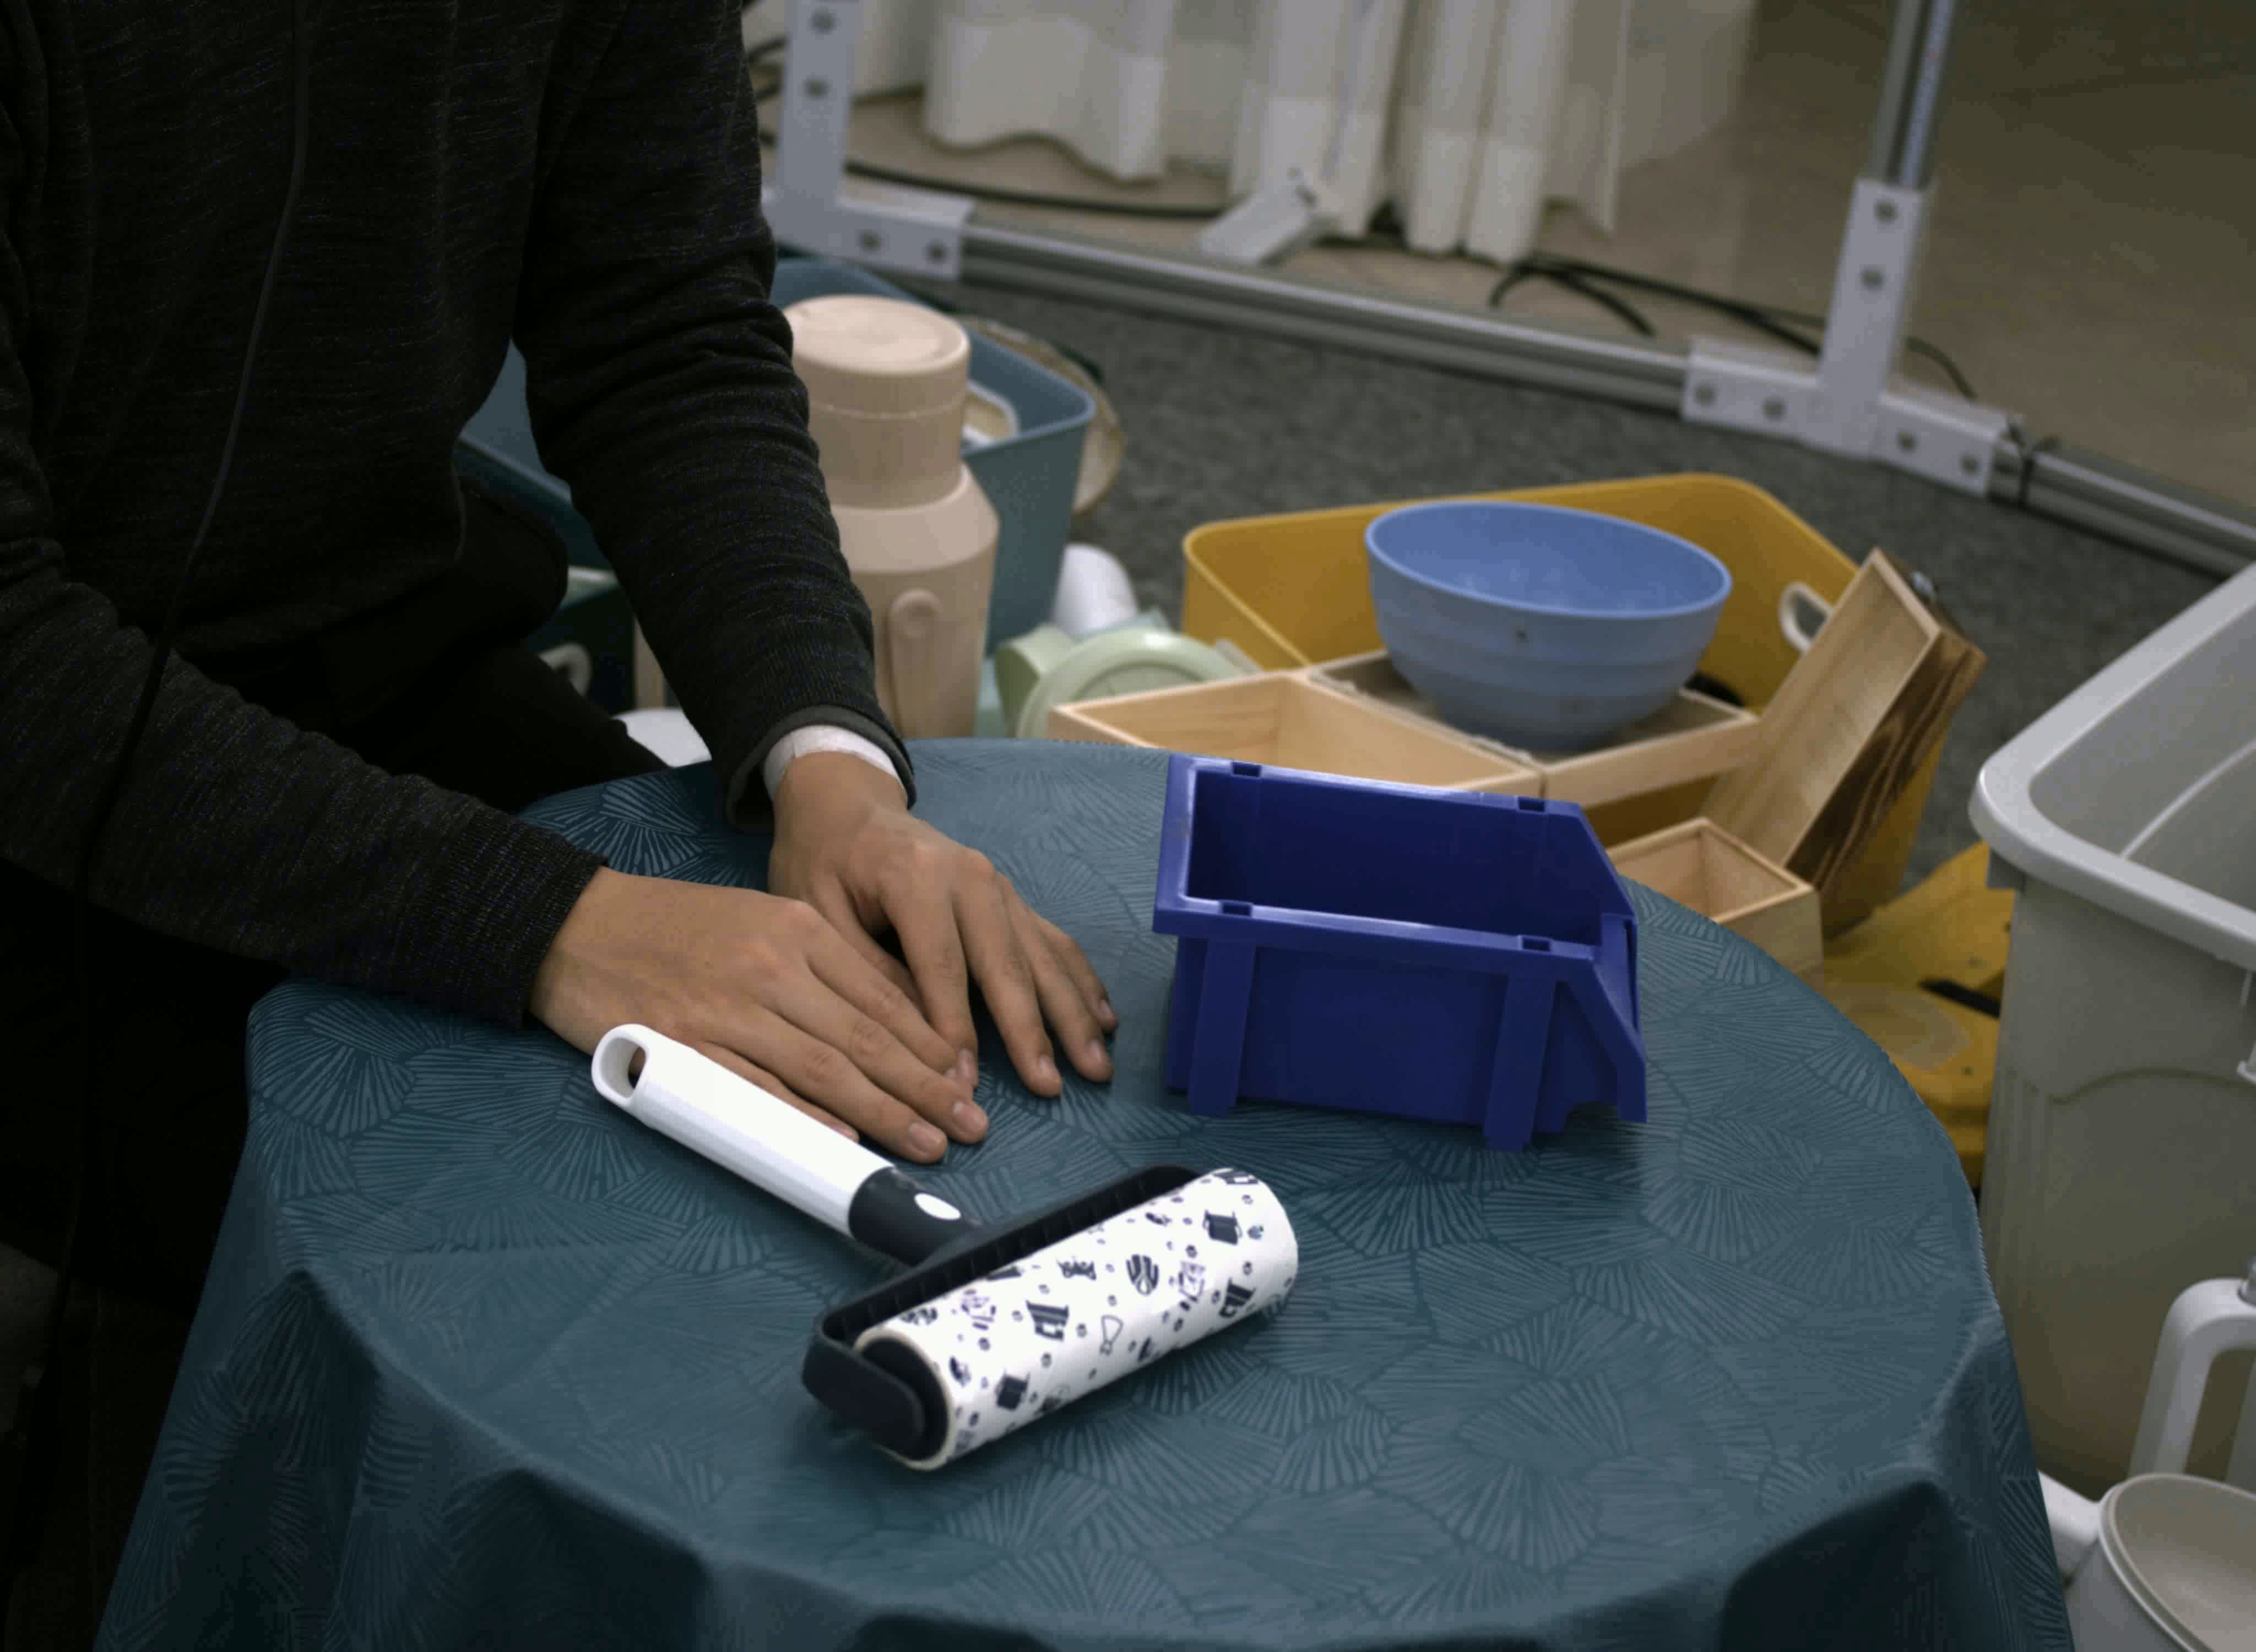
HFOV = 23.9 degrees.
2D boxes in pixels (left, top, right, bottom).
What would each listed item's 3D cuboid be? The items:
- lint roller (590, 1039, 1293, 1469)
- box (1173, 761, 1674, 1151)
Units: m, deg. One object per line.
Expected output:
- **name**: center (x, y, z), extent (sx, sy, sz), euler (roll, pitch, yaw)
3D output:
- **lint roller**: center (-0.090, 0.119, 1.744), extent (0.249, 0.050, 0.175), euler (27, 34, 36)
- **box**: center (0.106, 0.046, 1.889), extent (0.179, 0.081, 0.125), euler (5, 26, 3)
